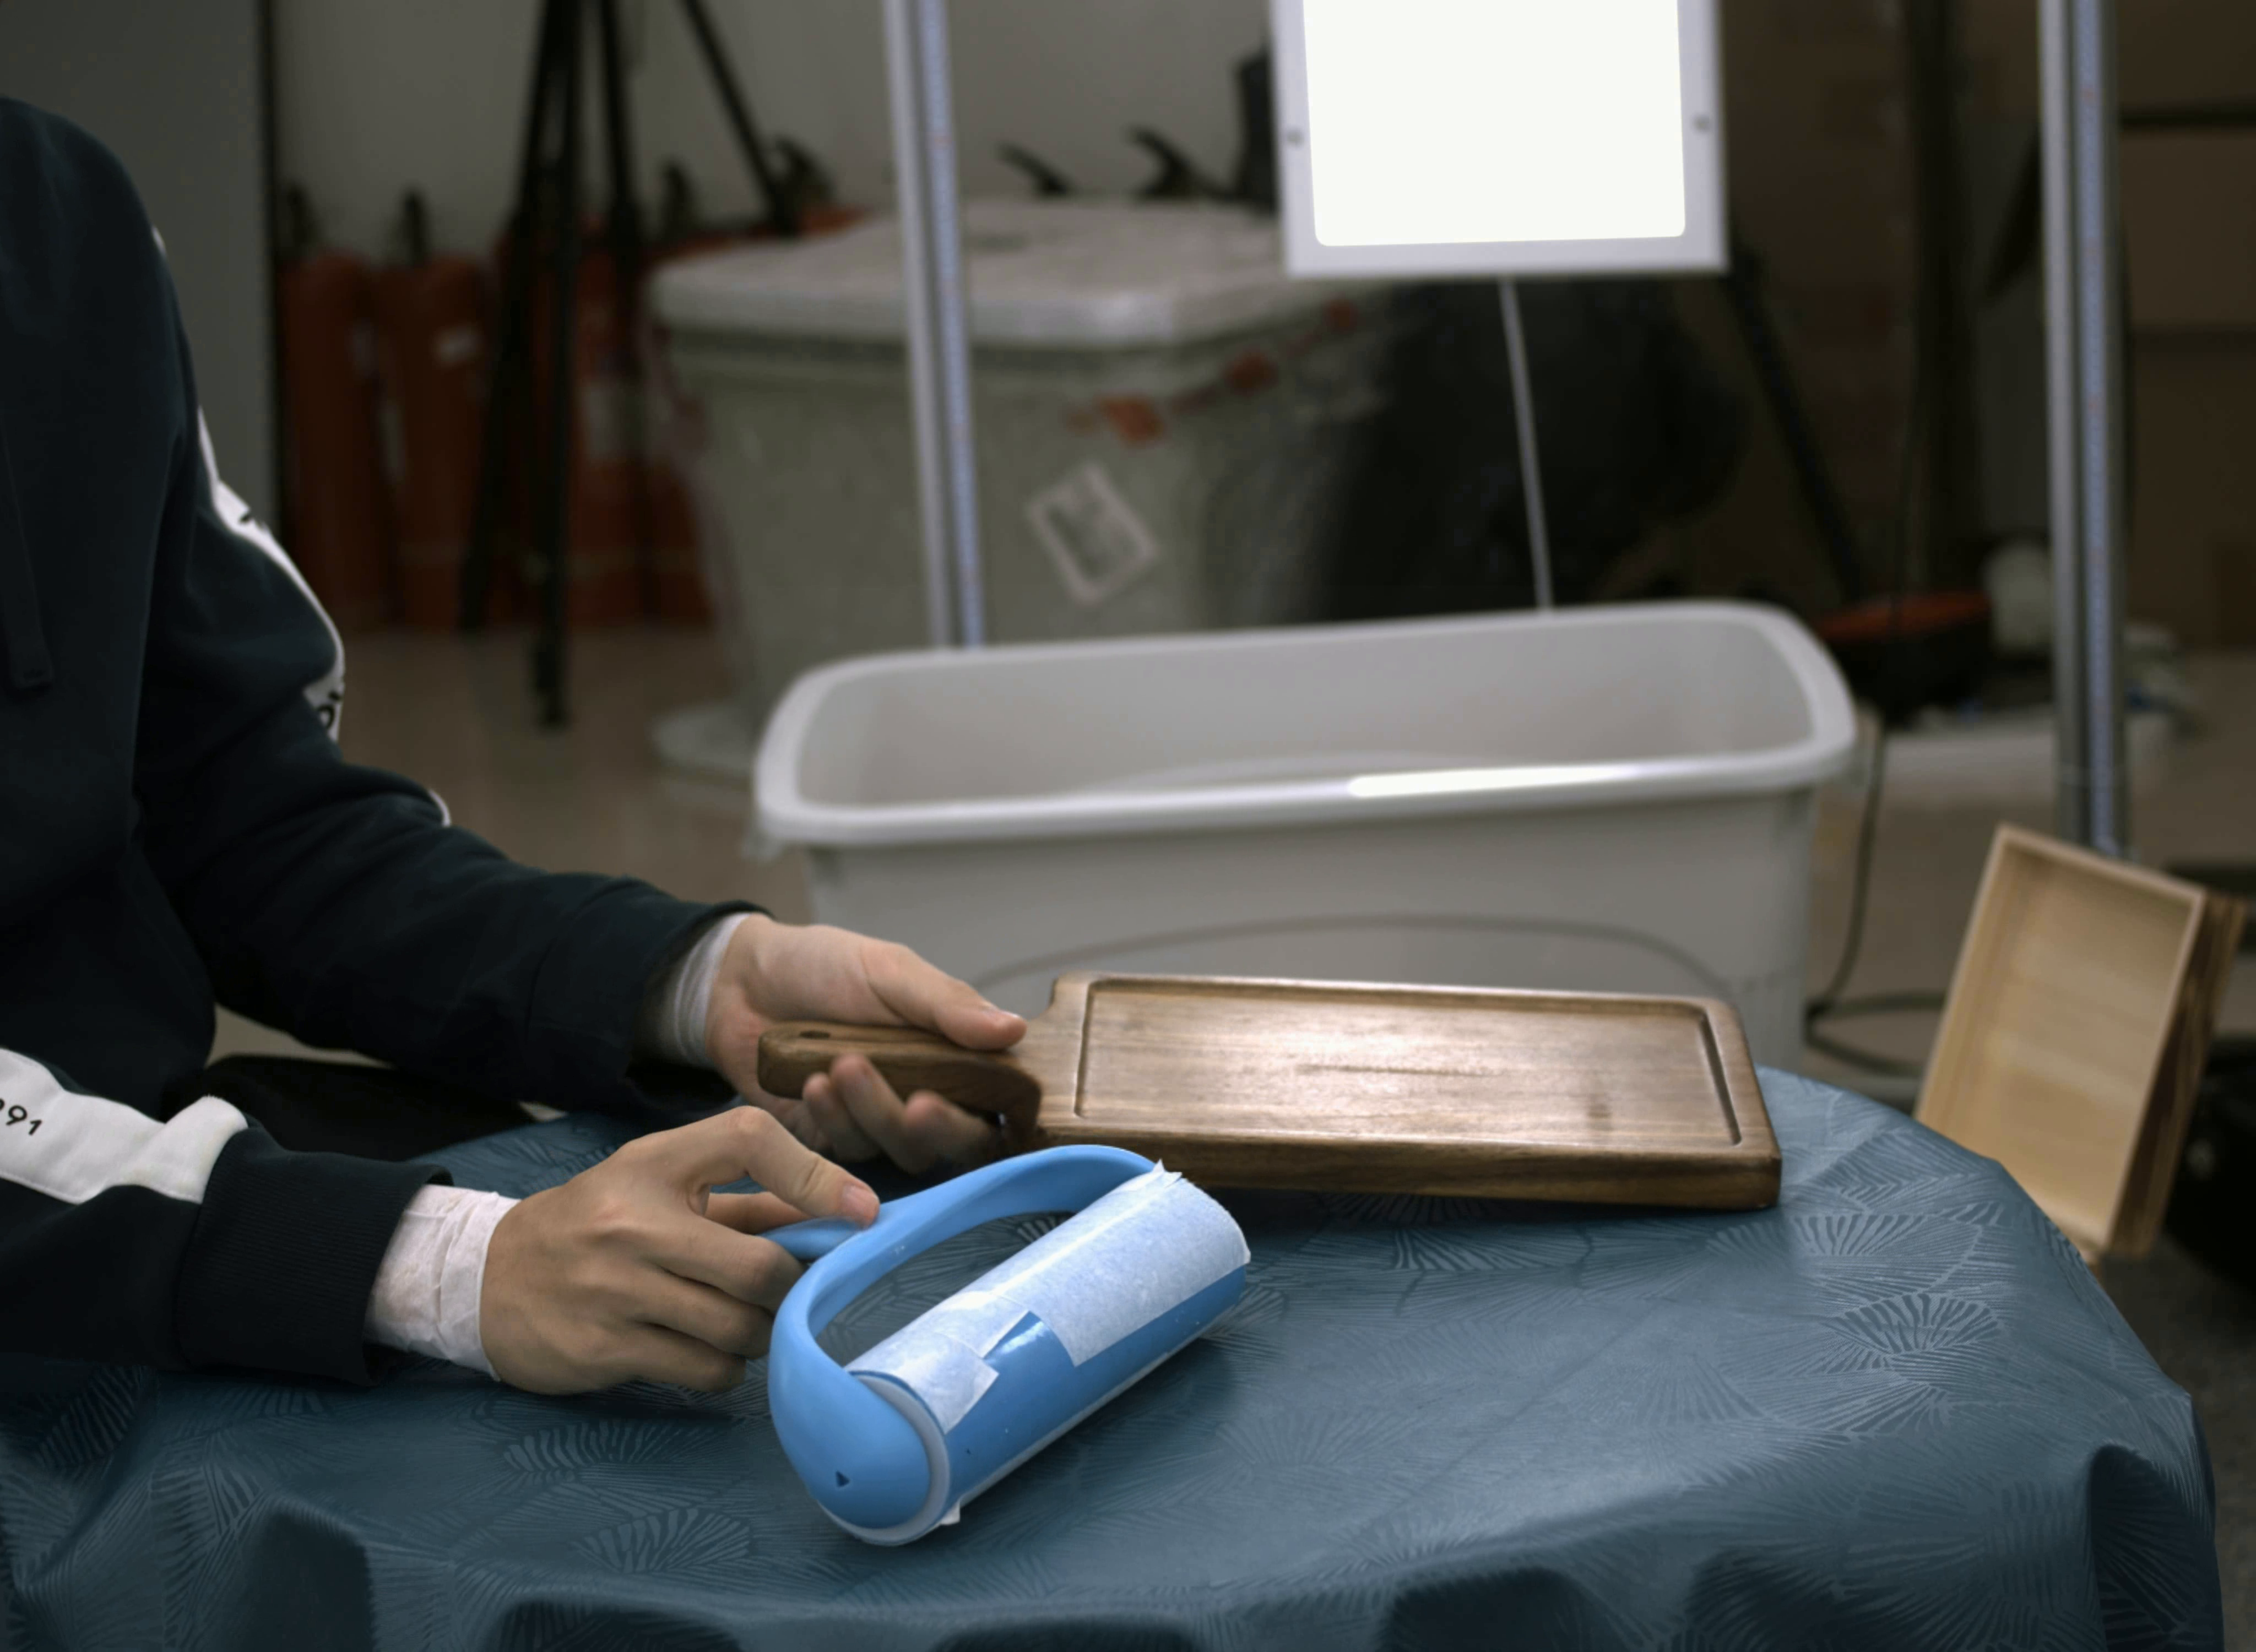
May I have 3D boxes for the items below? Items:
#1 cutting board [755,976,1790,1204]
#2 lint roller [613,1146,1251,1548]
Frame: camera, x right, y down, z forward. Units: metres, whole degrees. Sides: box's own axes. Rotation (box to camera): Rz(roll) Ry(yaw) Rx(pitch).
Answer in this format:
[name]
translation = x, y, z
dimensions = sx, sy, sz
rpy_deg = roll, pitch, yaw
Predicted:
[cutting board]
translation = 0.046, 0.088, 1.914
dimensions = 0.352, 0.023, 0.200
rpy_deg = 2, 14, 2
[lint roller]
translation = -0.081, 0.152, 1.690
dimensions = 0.183, 0.068, 0.224
rpy_deg = 6, 19, 25
